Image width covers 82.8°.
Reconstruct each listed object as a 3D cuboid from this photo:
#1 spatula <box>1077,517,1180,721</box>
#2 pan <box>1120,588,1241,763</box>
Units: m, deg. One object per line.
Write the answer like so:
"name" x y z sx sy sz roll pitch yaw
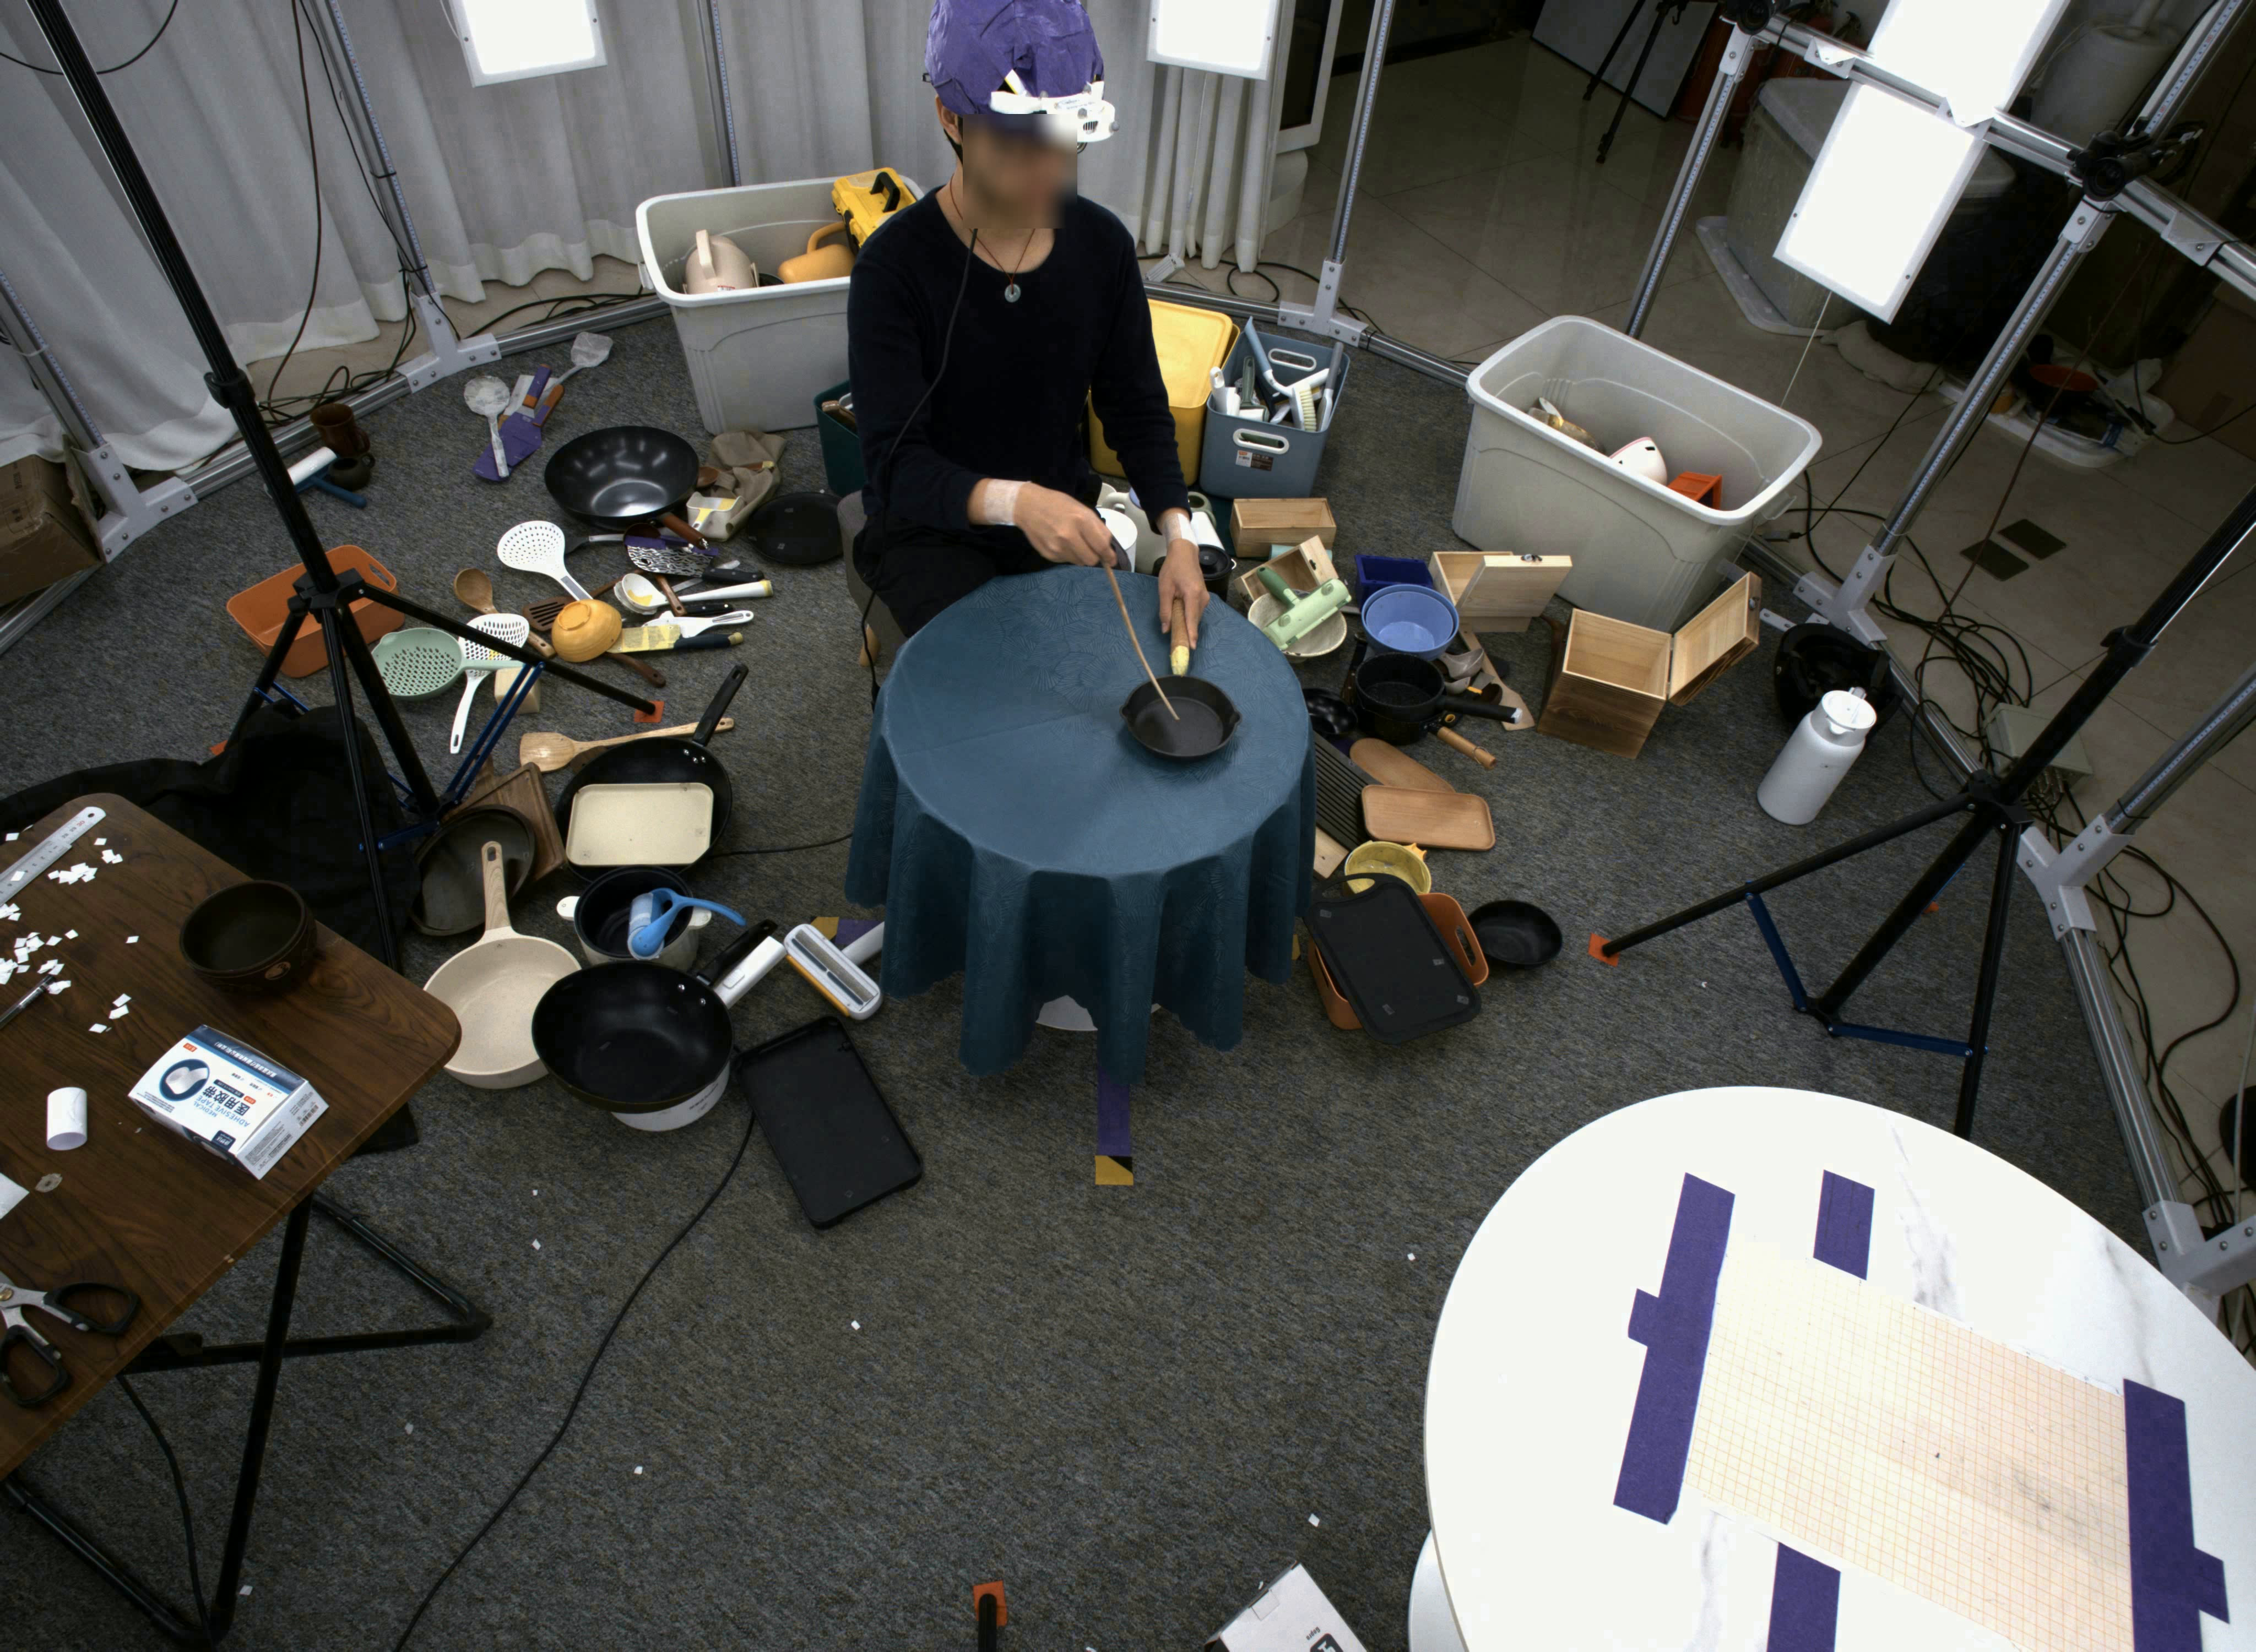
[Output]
"spatula" 0.000 -0.268 1.673 0.016 0.320 0.082 -28 41 -1
"pan" 0.077 -0.216 1.828 0.169 0.048 0.332 4 50 0
